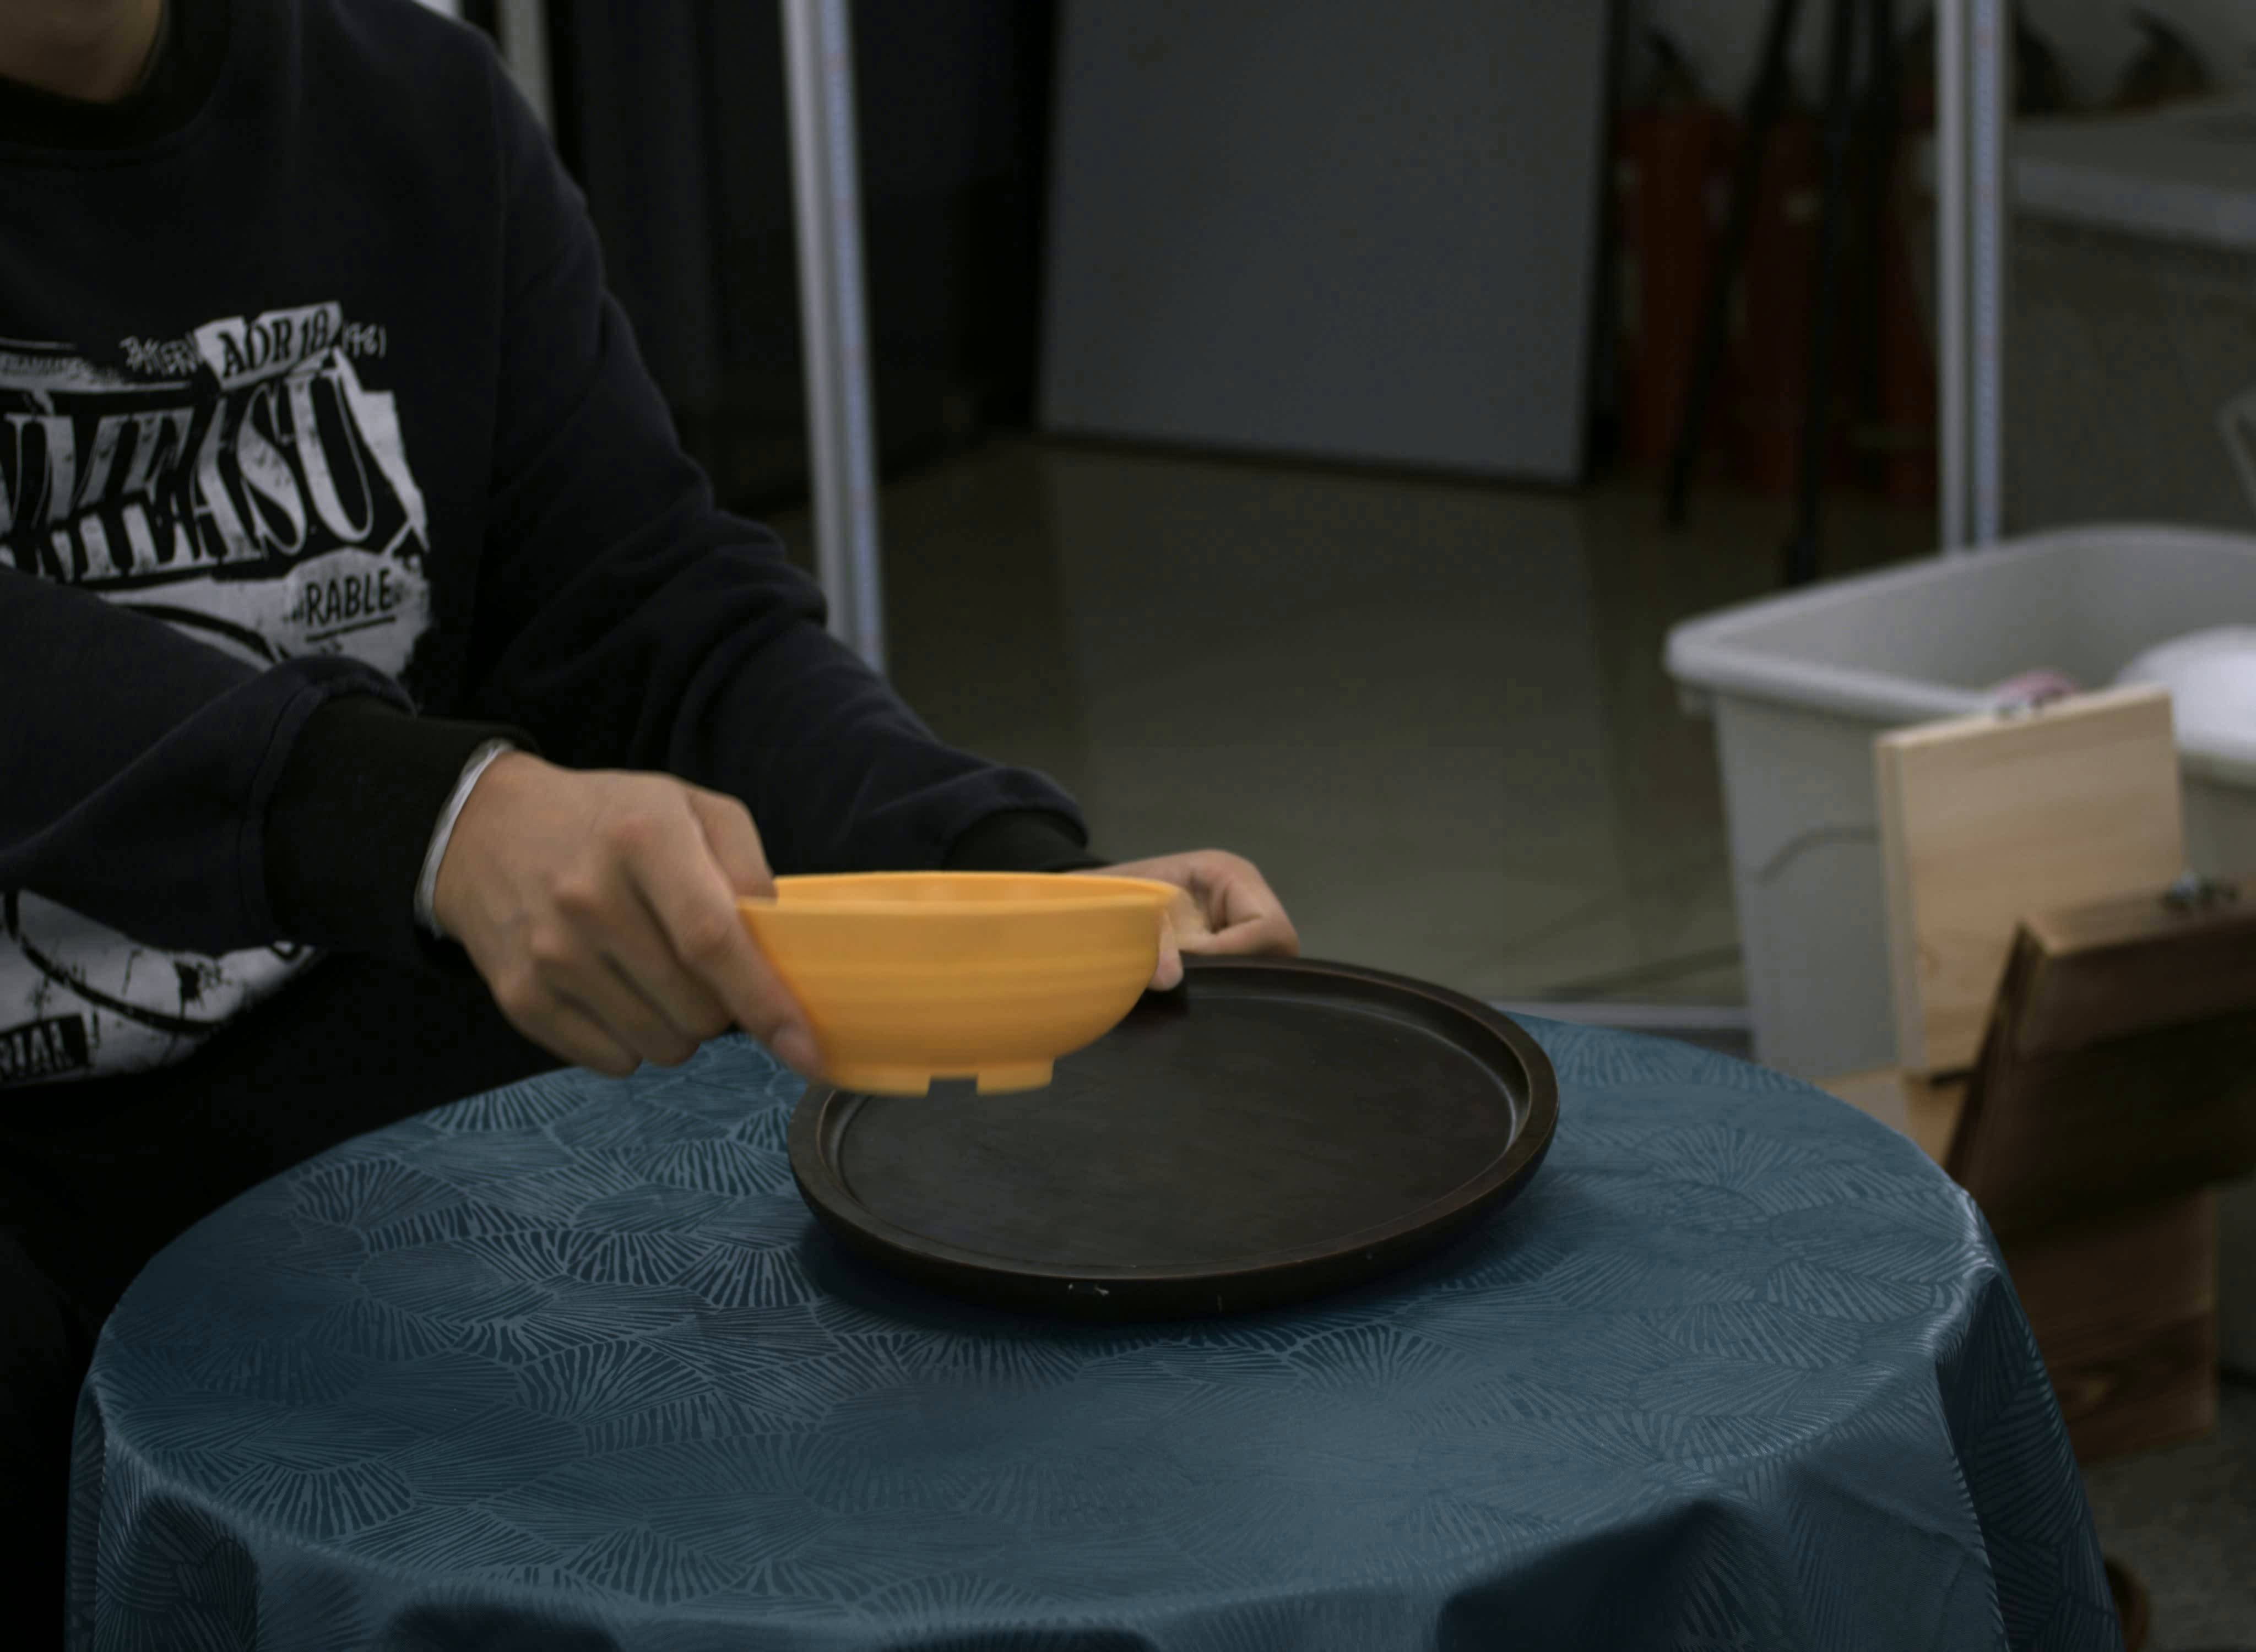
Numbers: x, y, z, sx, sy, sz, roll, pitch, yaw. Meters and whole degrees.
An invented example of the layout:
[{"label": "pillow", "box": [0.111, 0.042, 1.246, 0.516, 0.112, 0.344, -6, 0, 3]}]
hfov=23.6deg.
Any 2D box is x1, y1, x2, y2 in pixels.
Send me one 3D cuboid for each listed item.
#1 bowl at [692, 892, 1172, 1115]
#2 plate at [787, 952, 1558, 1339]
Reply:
[{"label": "bowl", "box": [-0.056, 0.052, 1.588, 0.143, 0.061, 0.145, -3, 1, -1]}, {"label": "plate", "box": [0.015, 0.101, 1.746, 0.252, 0.029, 0.255, -6, 22, 2]}]
